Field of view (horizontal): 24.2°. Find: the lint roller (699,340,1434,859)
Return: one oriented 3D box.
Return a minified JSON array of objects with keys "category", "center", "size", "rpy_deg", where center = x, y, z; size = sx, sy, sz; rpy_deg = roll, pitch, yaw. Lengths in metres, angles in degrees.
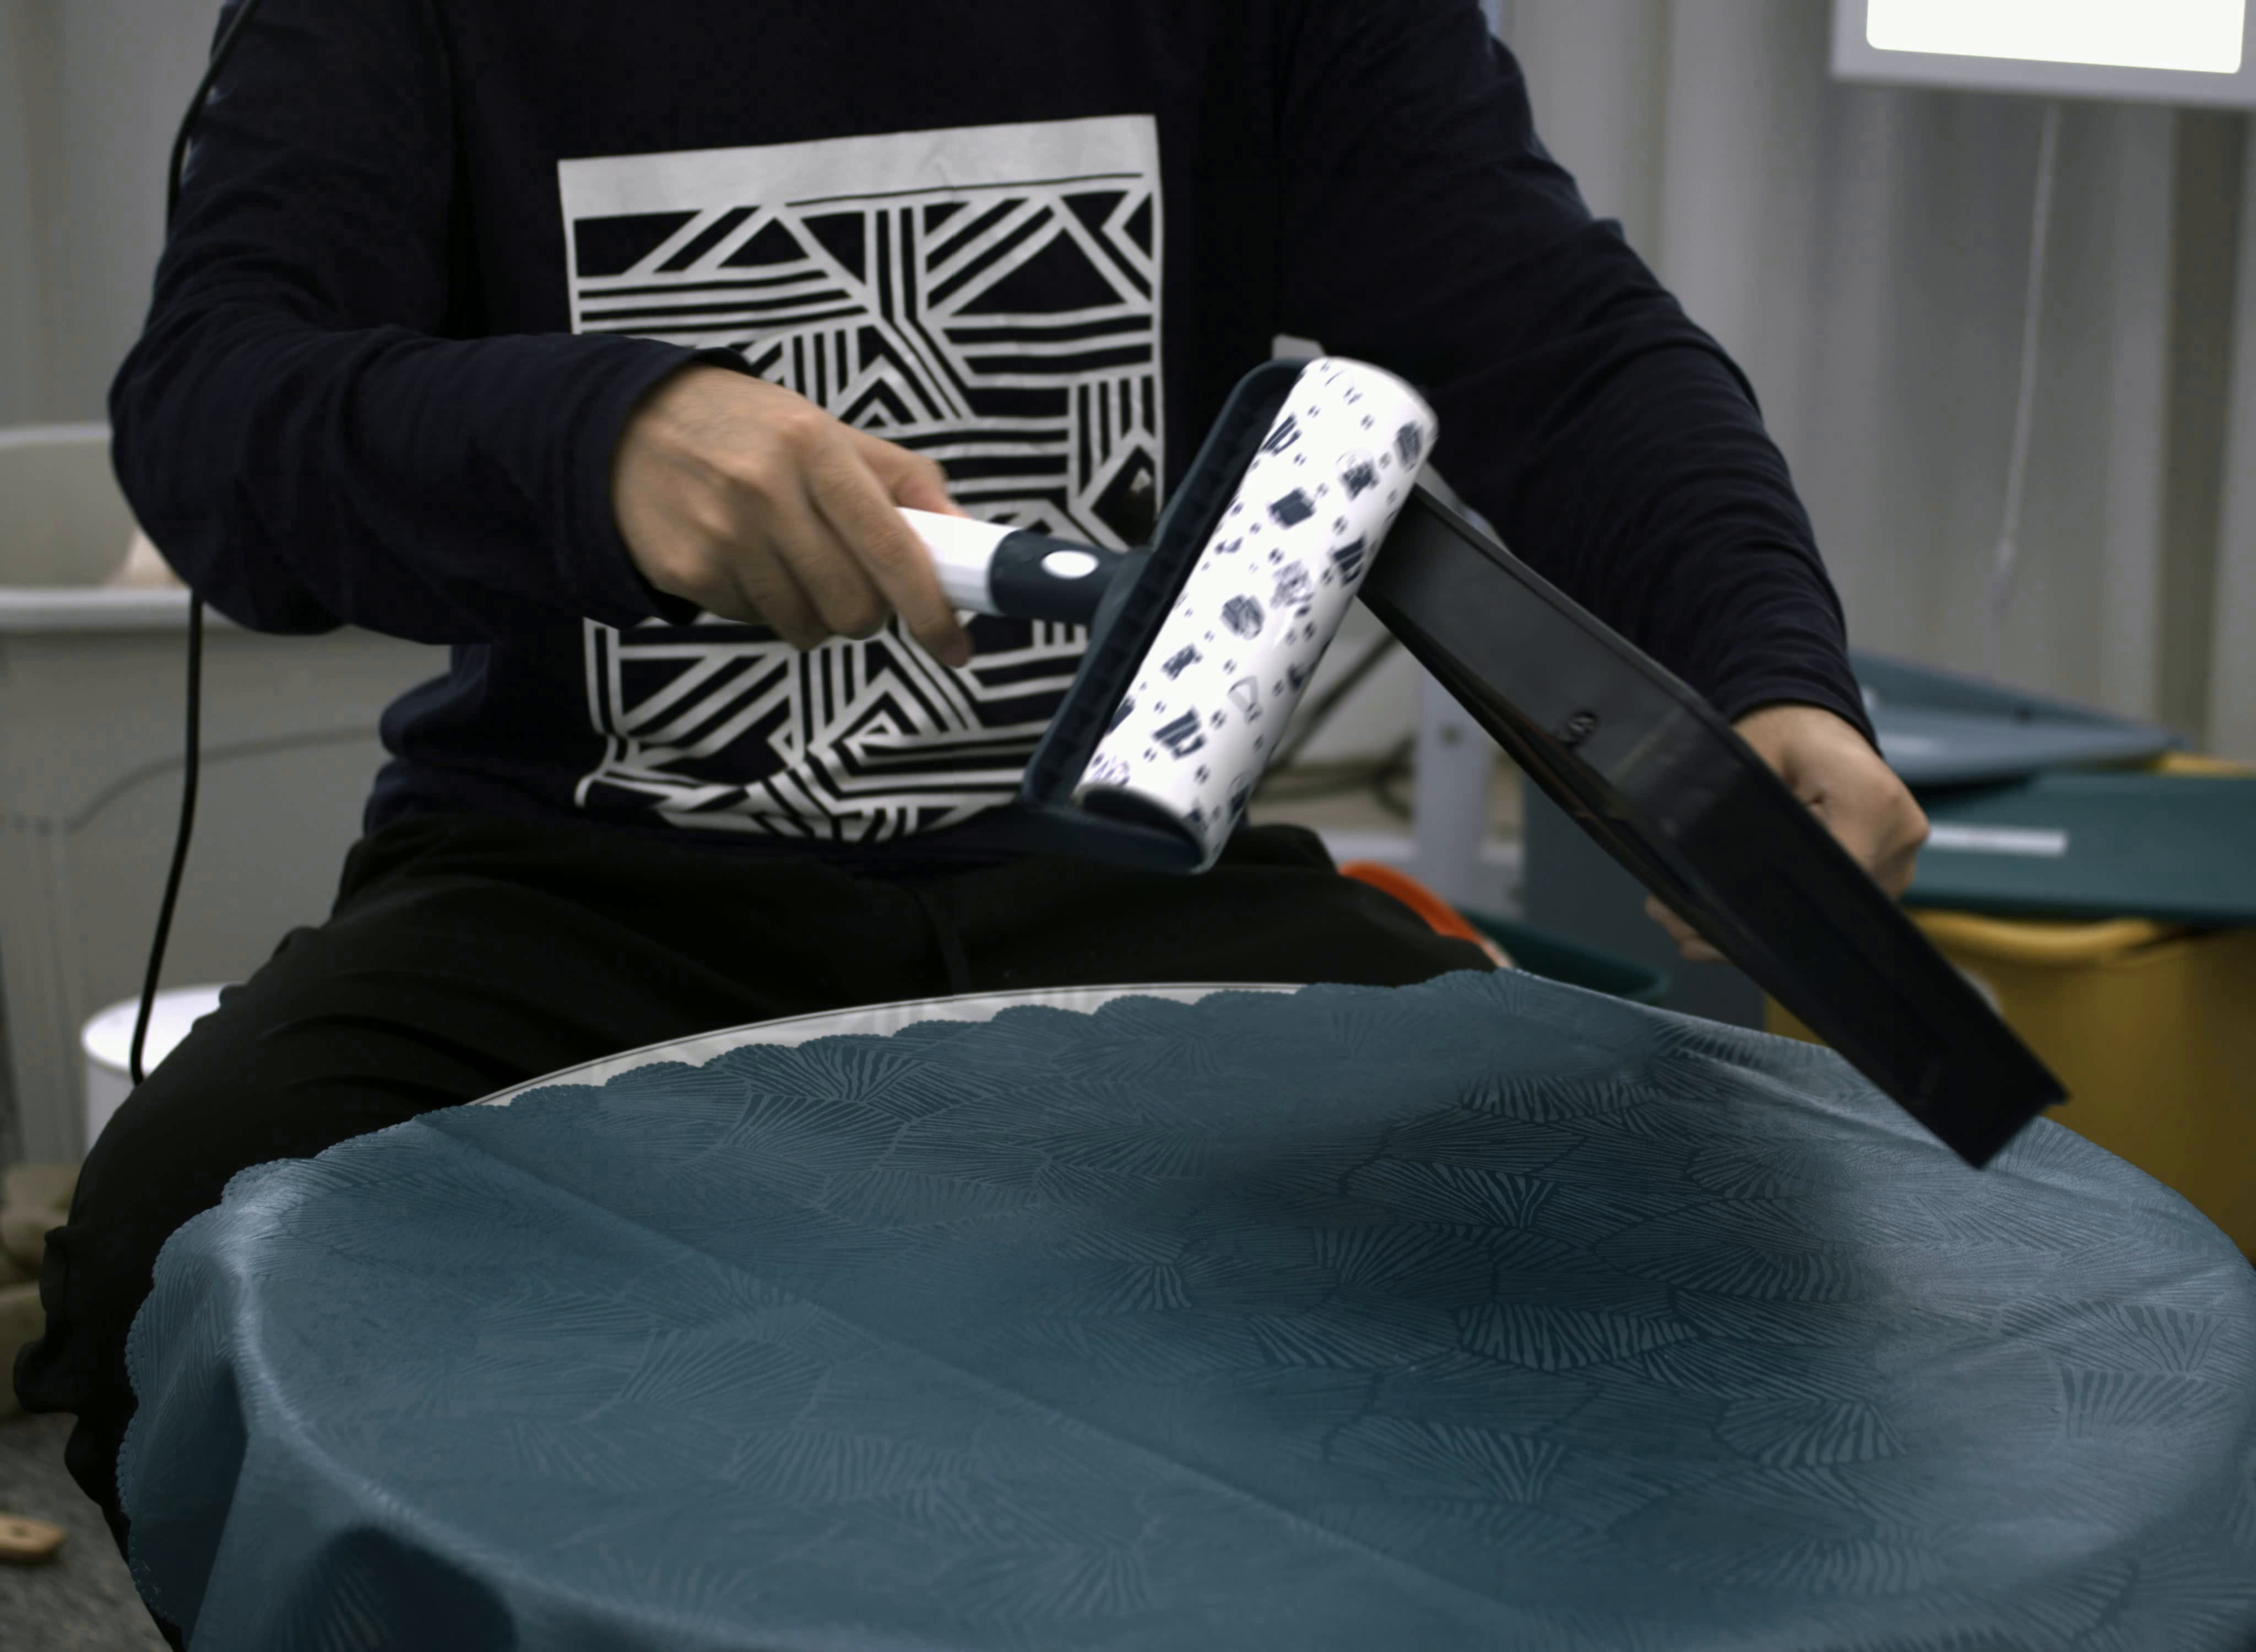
[{"category":"lint roller","center":[-0.041,-0.080,1.621],"size":[0.244,0.051,0.176],"rpy_deg":[9,61,35]}]

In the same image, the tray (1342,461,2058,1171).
[{"category":"tray","center":[0.153,-0.016,1.588],"size":[0.037,0.186,0.314],"rpy_deg":[-44,27,0]}]
